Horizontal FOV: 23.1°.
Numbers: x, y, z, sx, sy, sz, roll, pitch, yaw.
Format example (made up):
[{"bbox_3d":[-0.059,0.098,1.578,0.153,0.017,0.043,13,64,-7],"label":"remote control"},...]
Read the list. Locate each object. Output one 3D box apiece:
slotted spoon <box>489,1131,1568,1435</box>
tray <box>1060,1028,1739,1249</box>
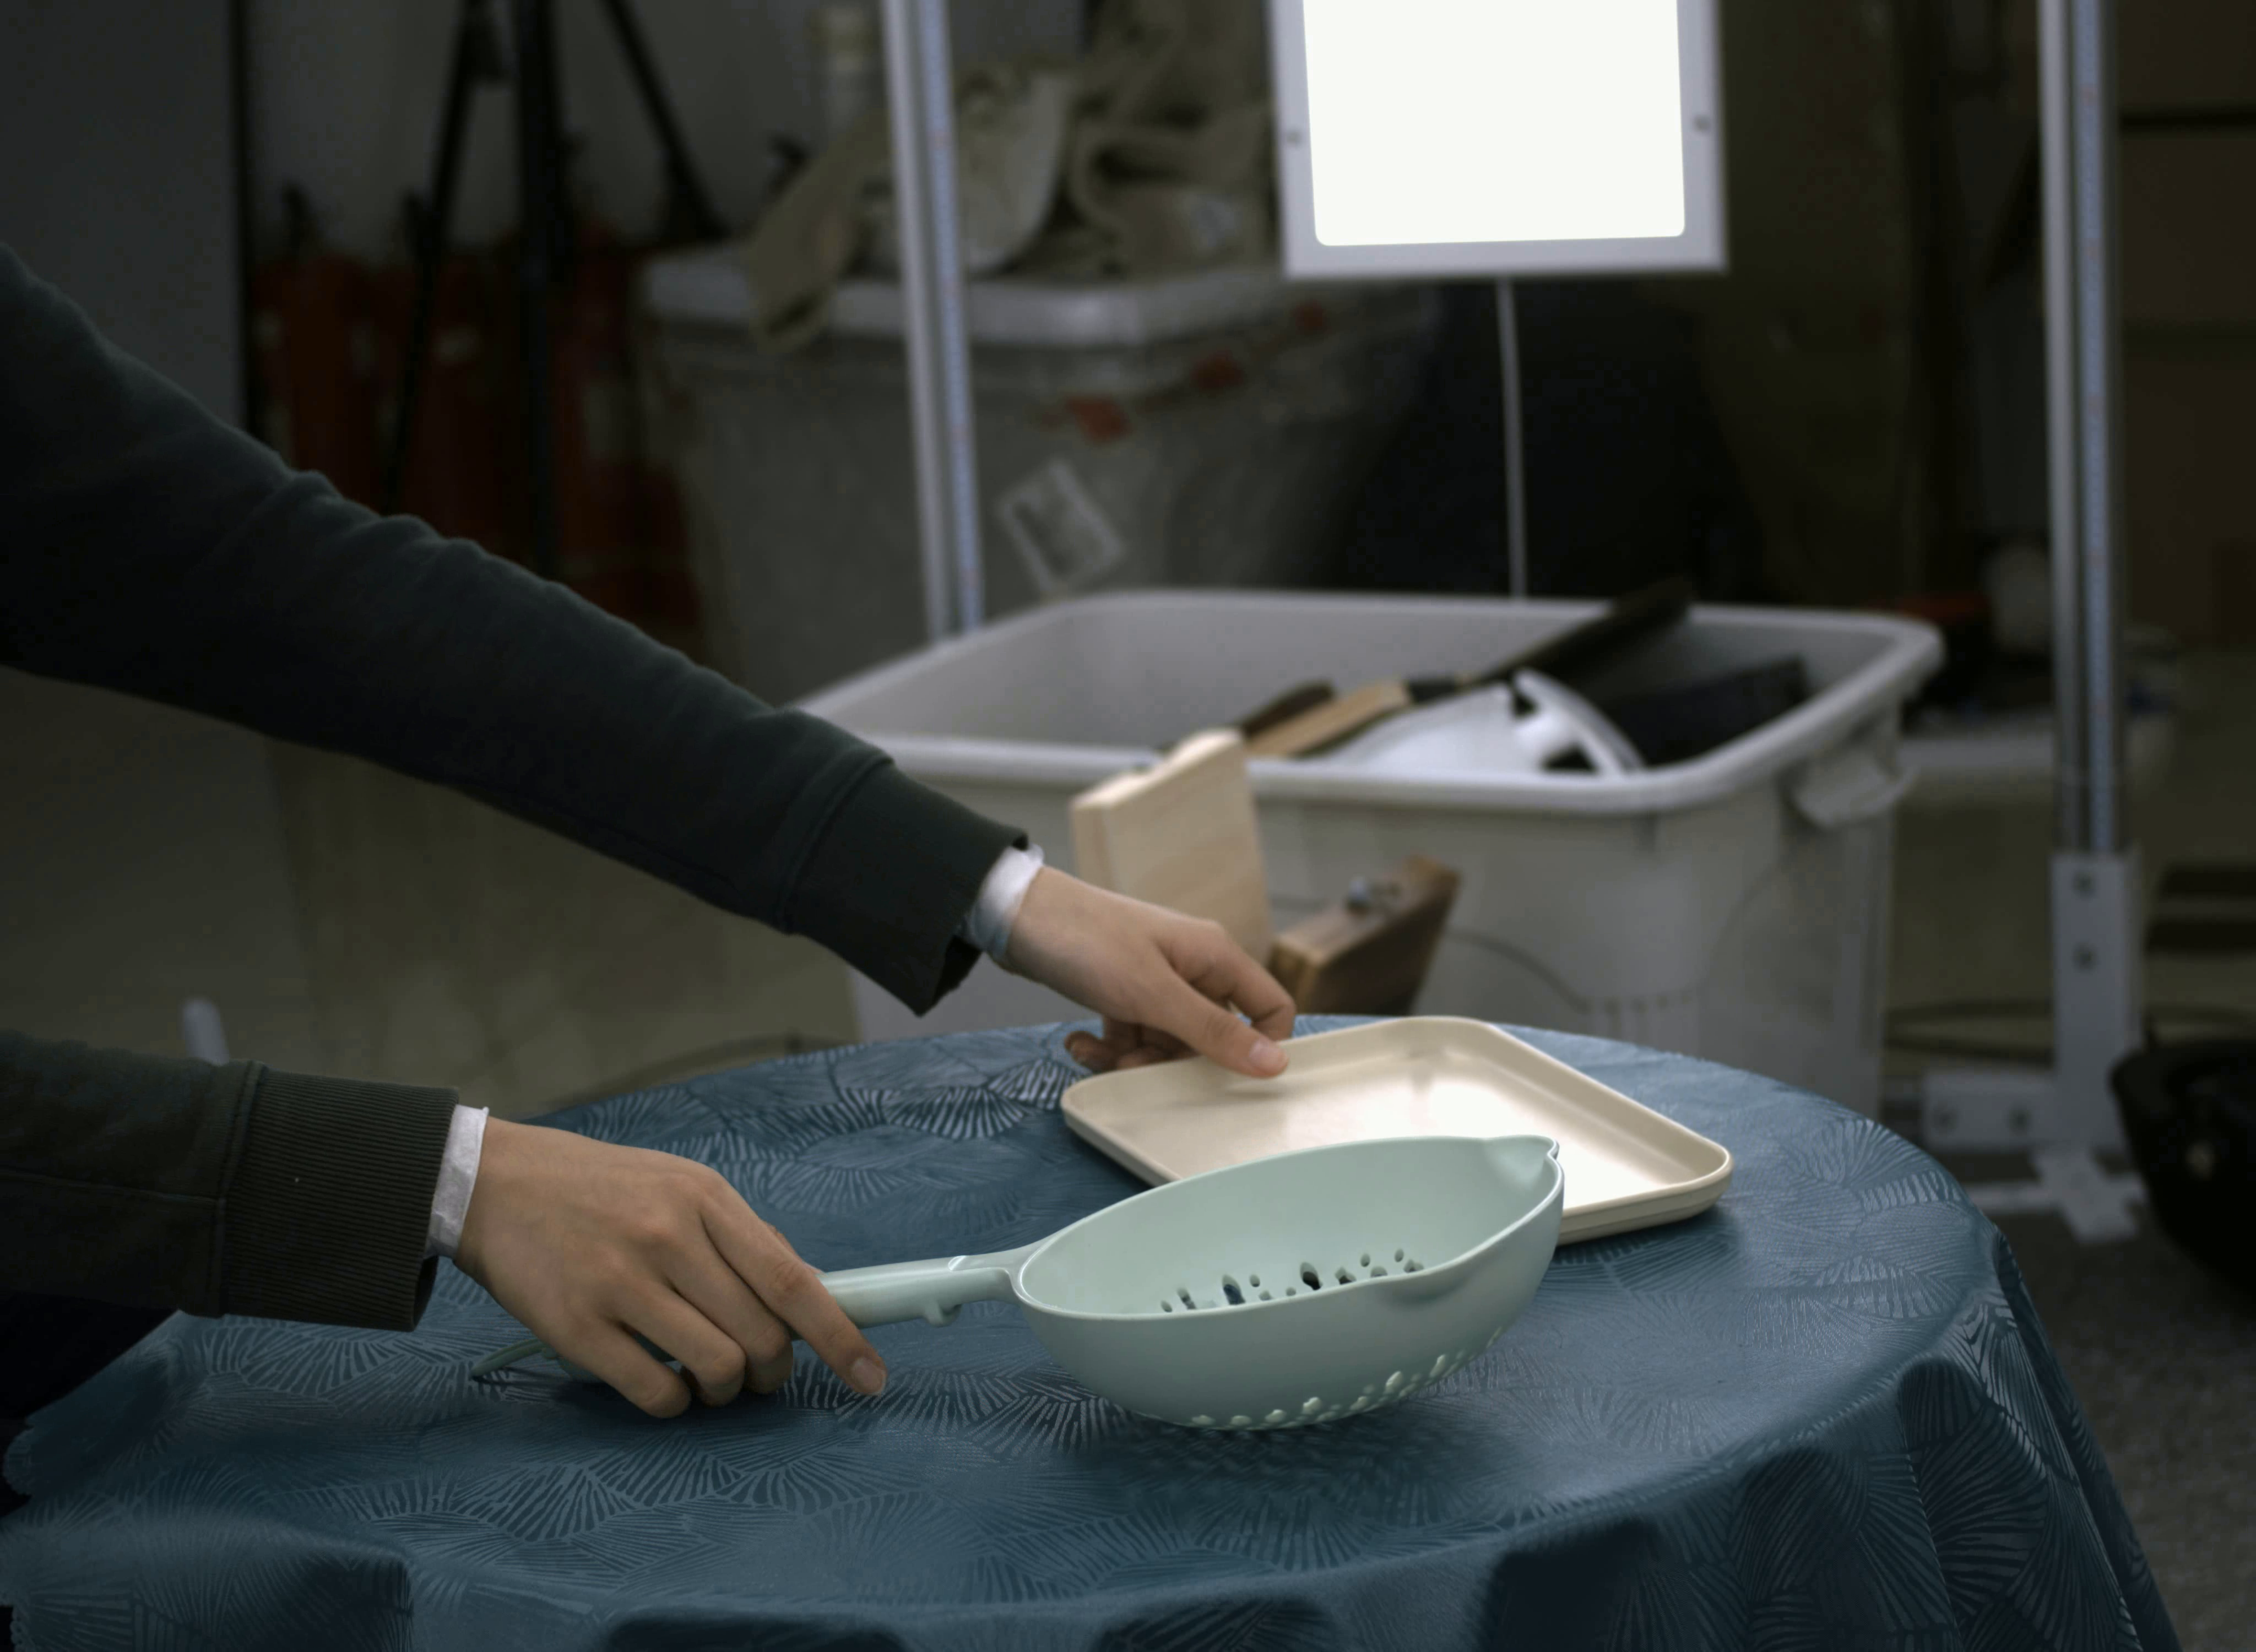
[{"bbox_3d":[-0.038,0.145,1.702,0.363,0.075,0.166,0,13,21],"label":"slotted spoon"},{"bbox_3d":[0.090,0.112,1.892,0.168,0.017,0.243,-10,14,-20],"label":"tray"}]
